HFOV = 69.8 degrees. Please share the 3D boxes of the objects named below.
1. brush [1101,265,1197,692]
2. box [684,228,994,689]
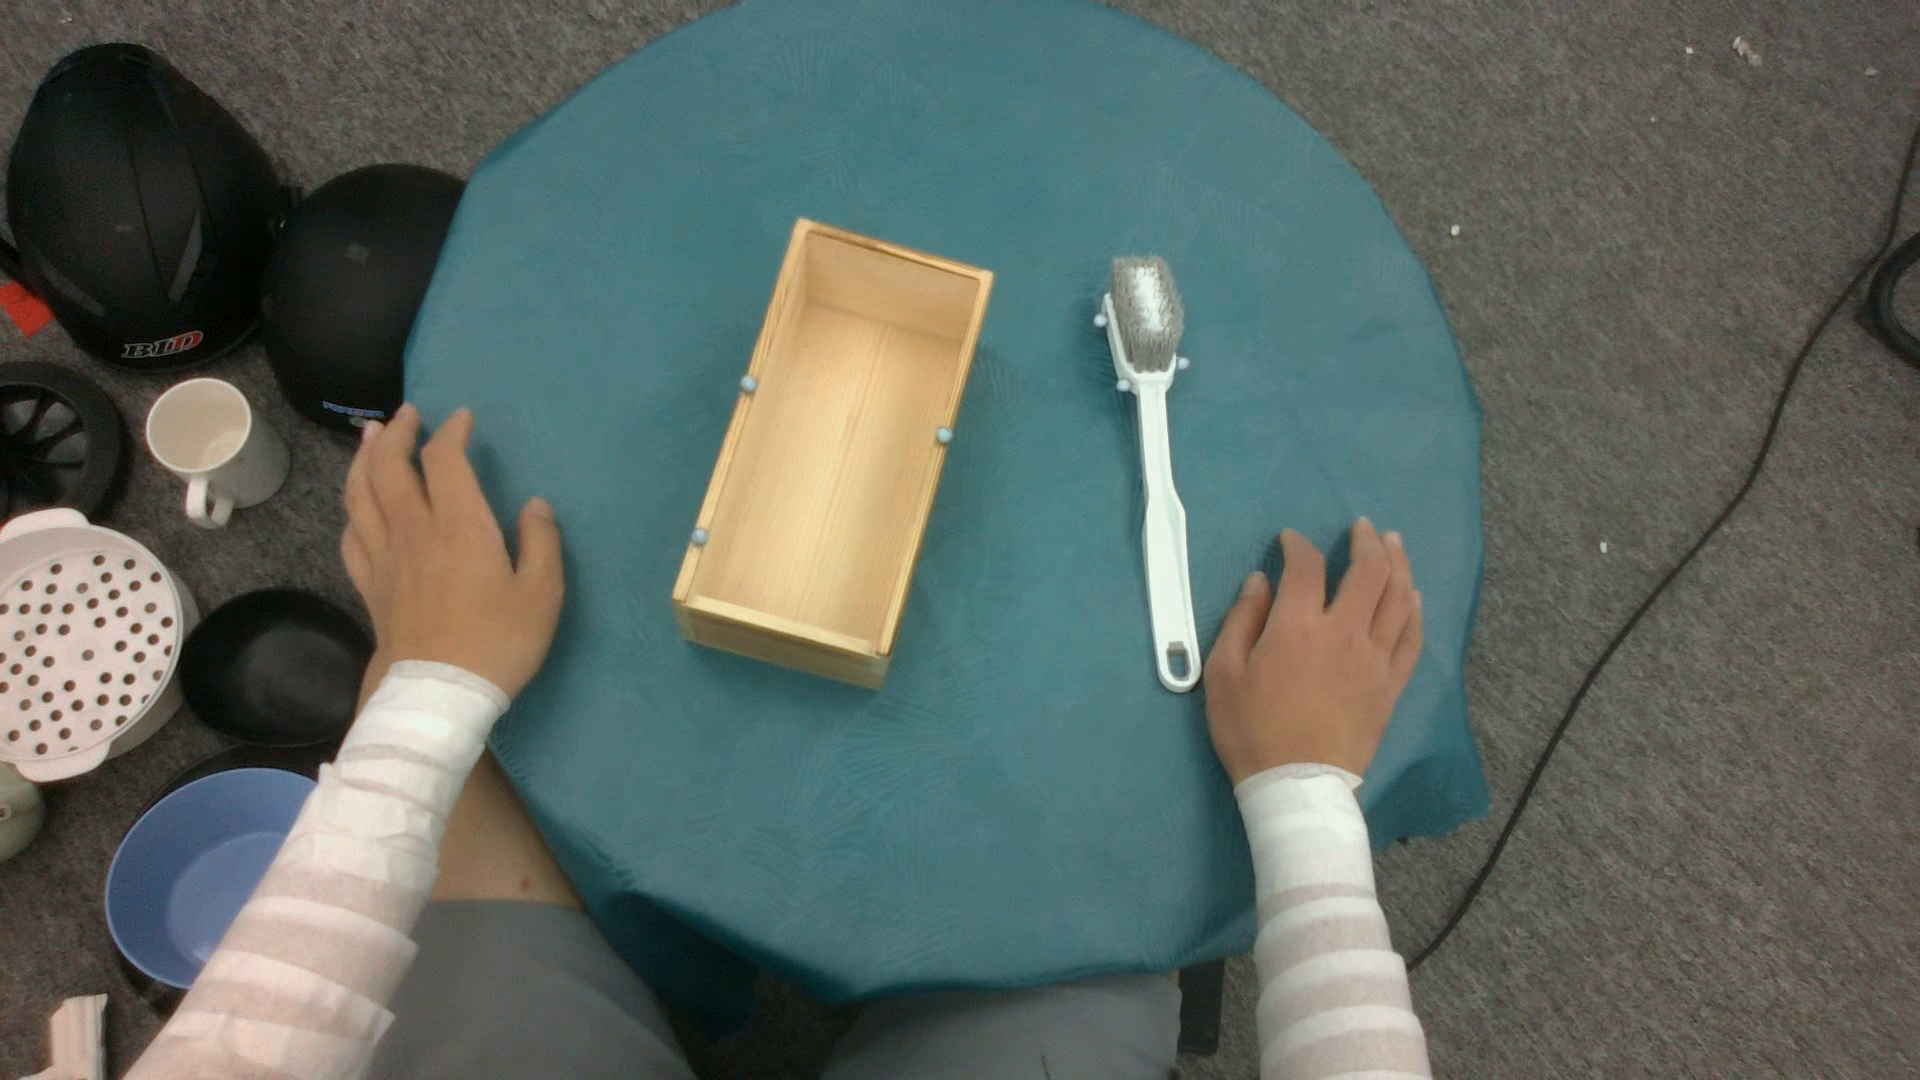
[{"bbox_3d":[0.109,-0.040,0.756,0.034,0.050,0.244,-2,71,-7],"label":"brush"},{"bbox_3d":[-0.060,-0.042,0.722,0.107,0.080,0.212,14,72,-2],"label":"box"}]
